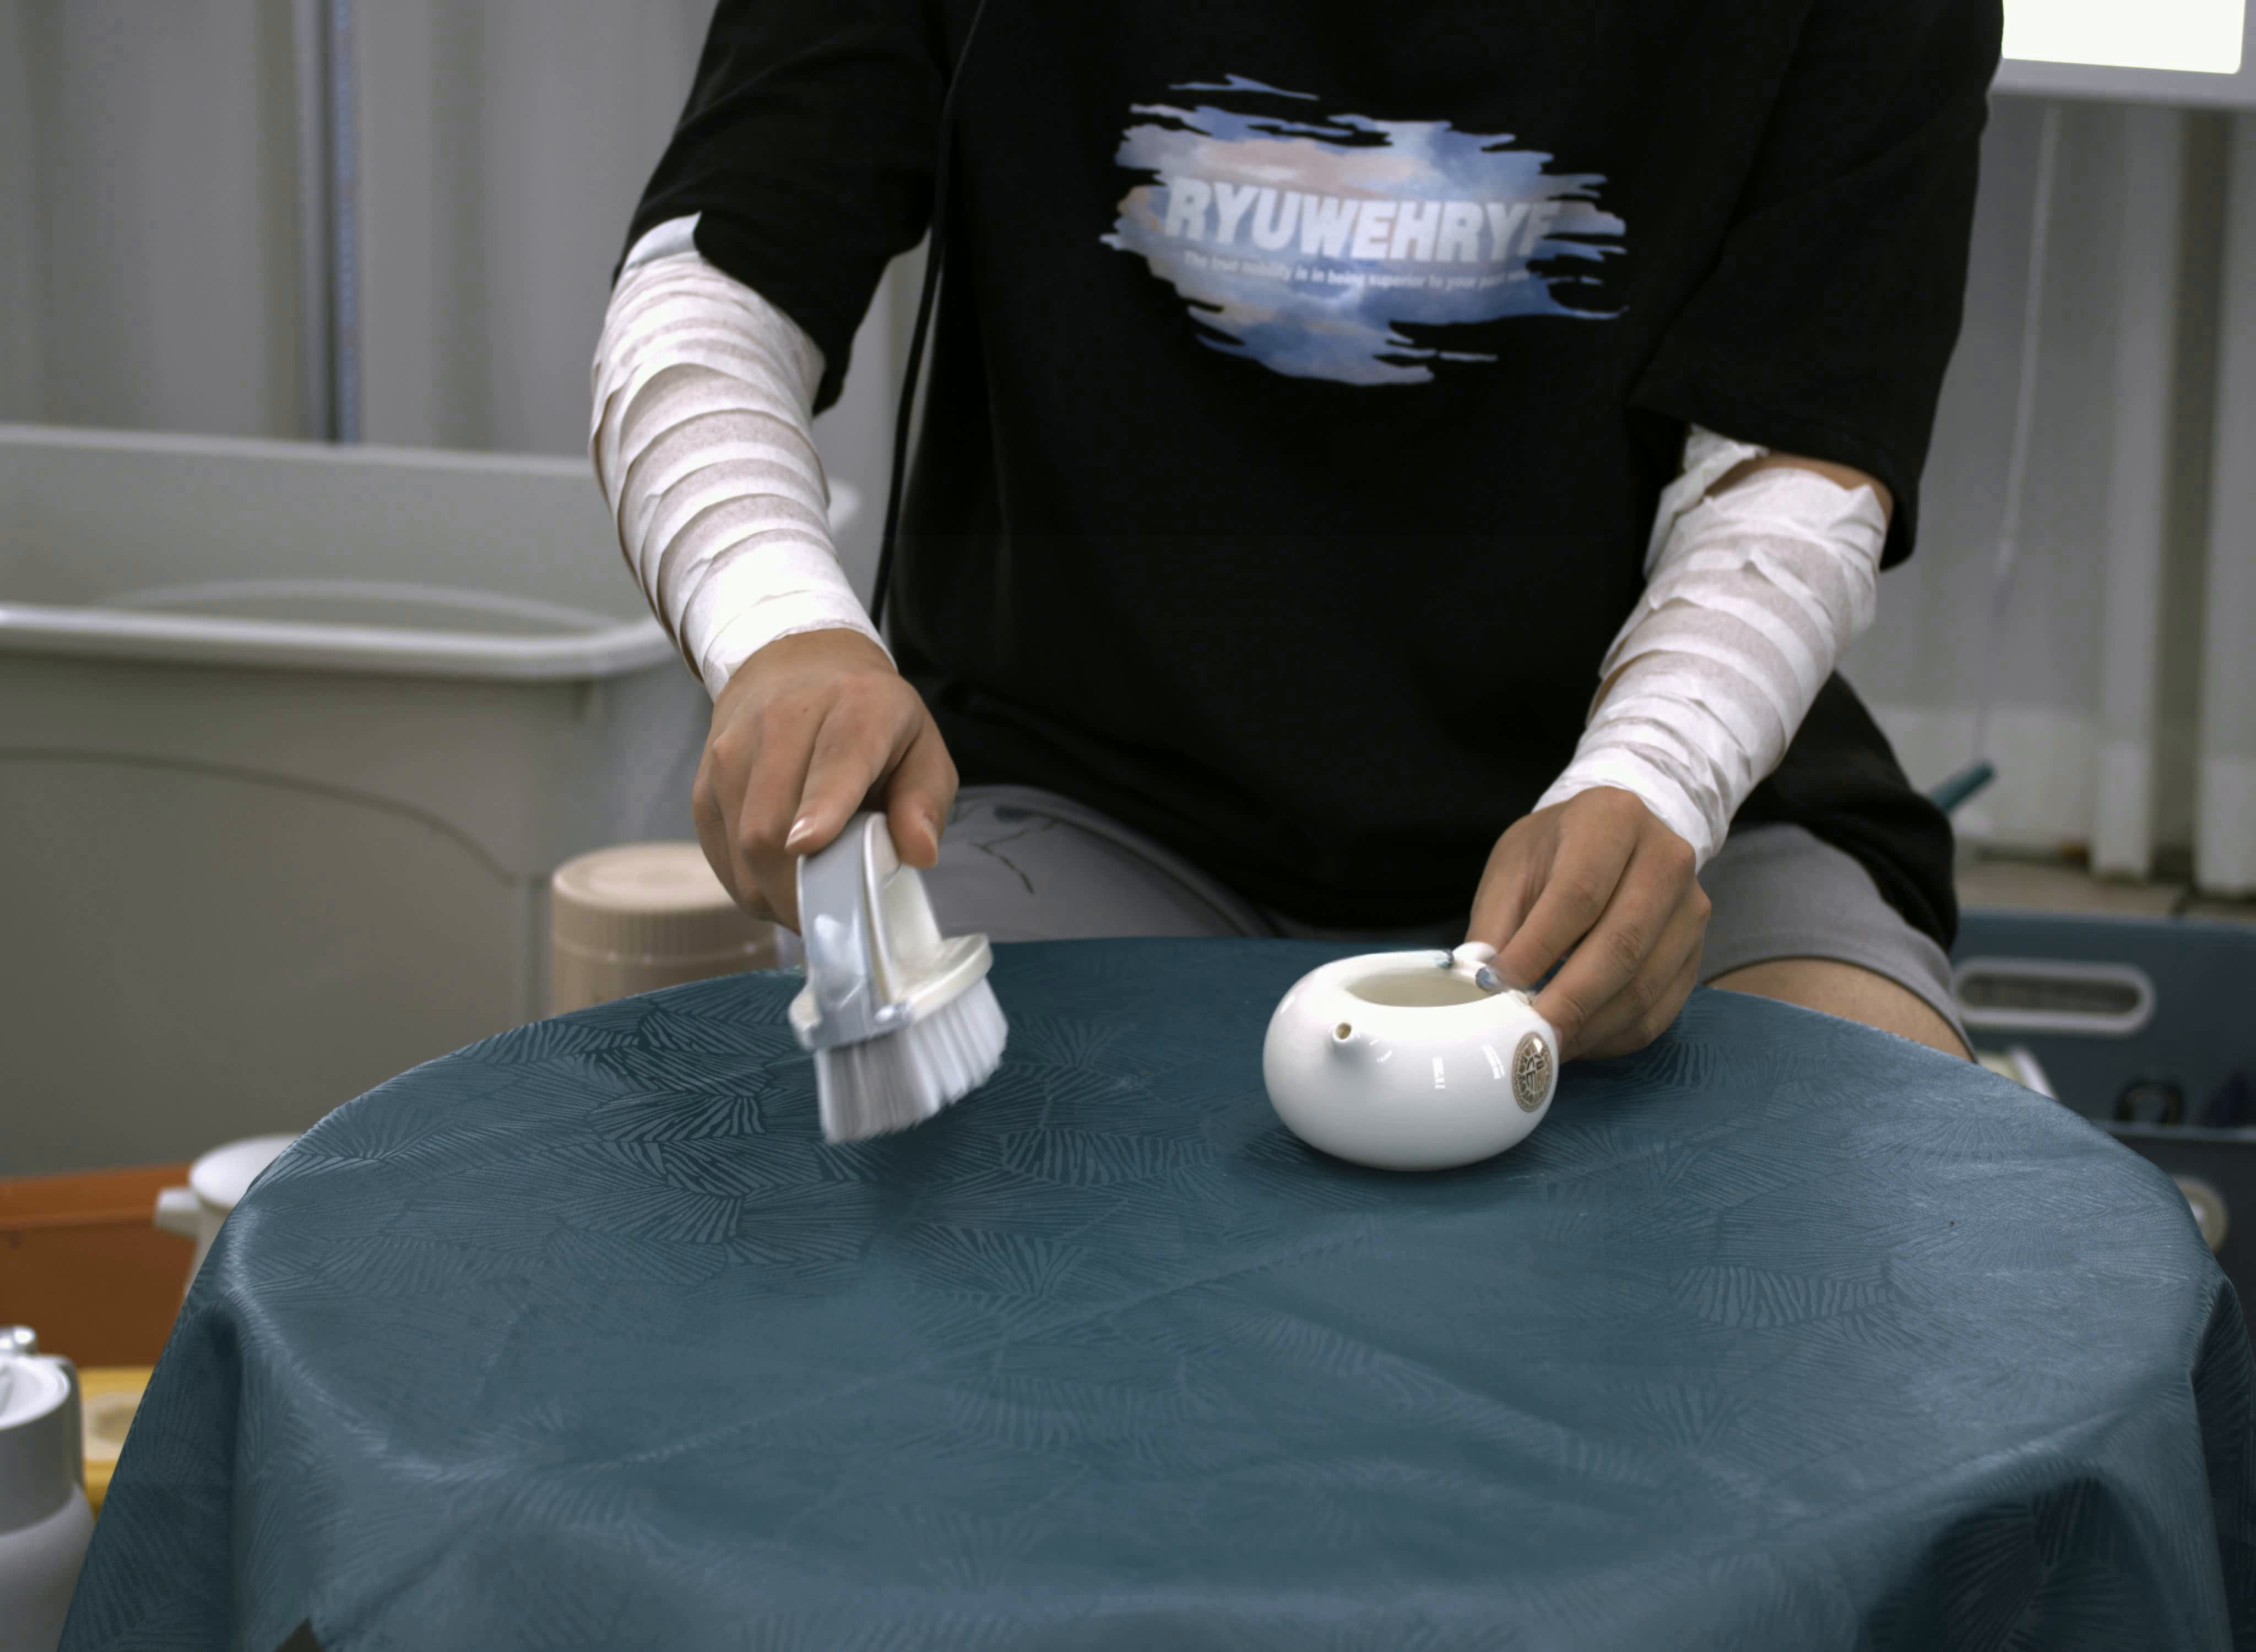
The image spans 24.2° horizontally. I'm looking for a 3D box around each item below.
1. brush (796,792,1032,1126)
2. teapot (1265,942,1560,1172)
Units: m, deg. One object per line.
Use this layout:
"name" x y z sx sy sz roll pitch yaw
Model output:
"brush" -0.074 0.038 1.624 0.061 0.094 0.175 -20 6 7
"teapot" 0.095 0.072 1.671 0.092 0.057 0.127 4 15 26
